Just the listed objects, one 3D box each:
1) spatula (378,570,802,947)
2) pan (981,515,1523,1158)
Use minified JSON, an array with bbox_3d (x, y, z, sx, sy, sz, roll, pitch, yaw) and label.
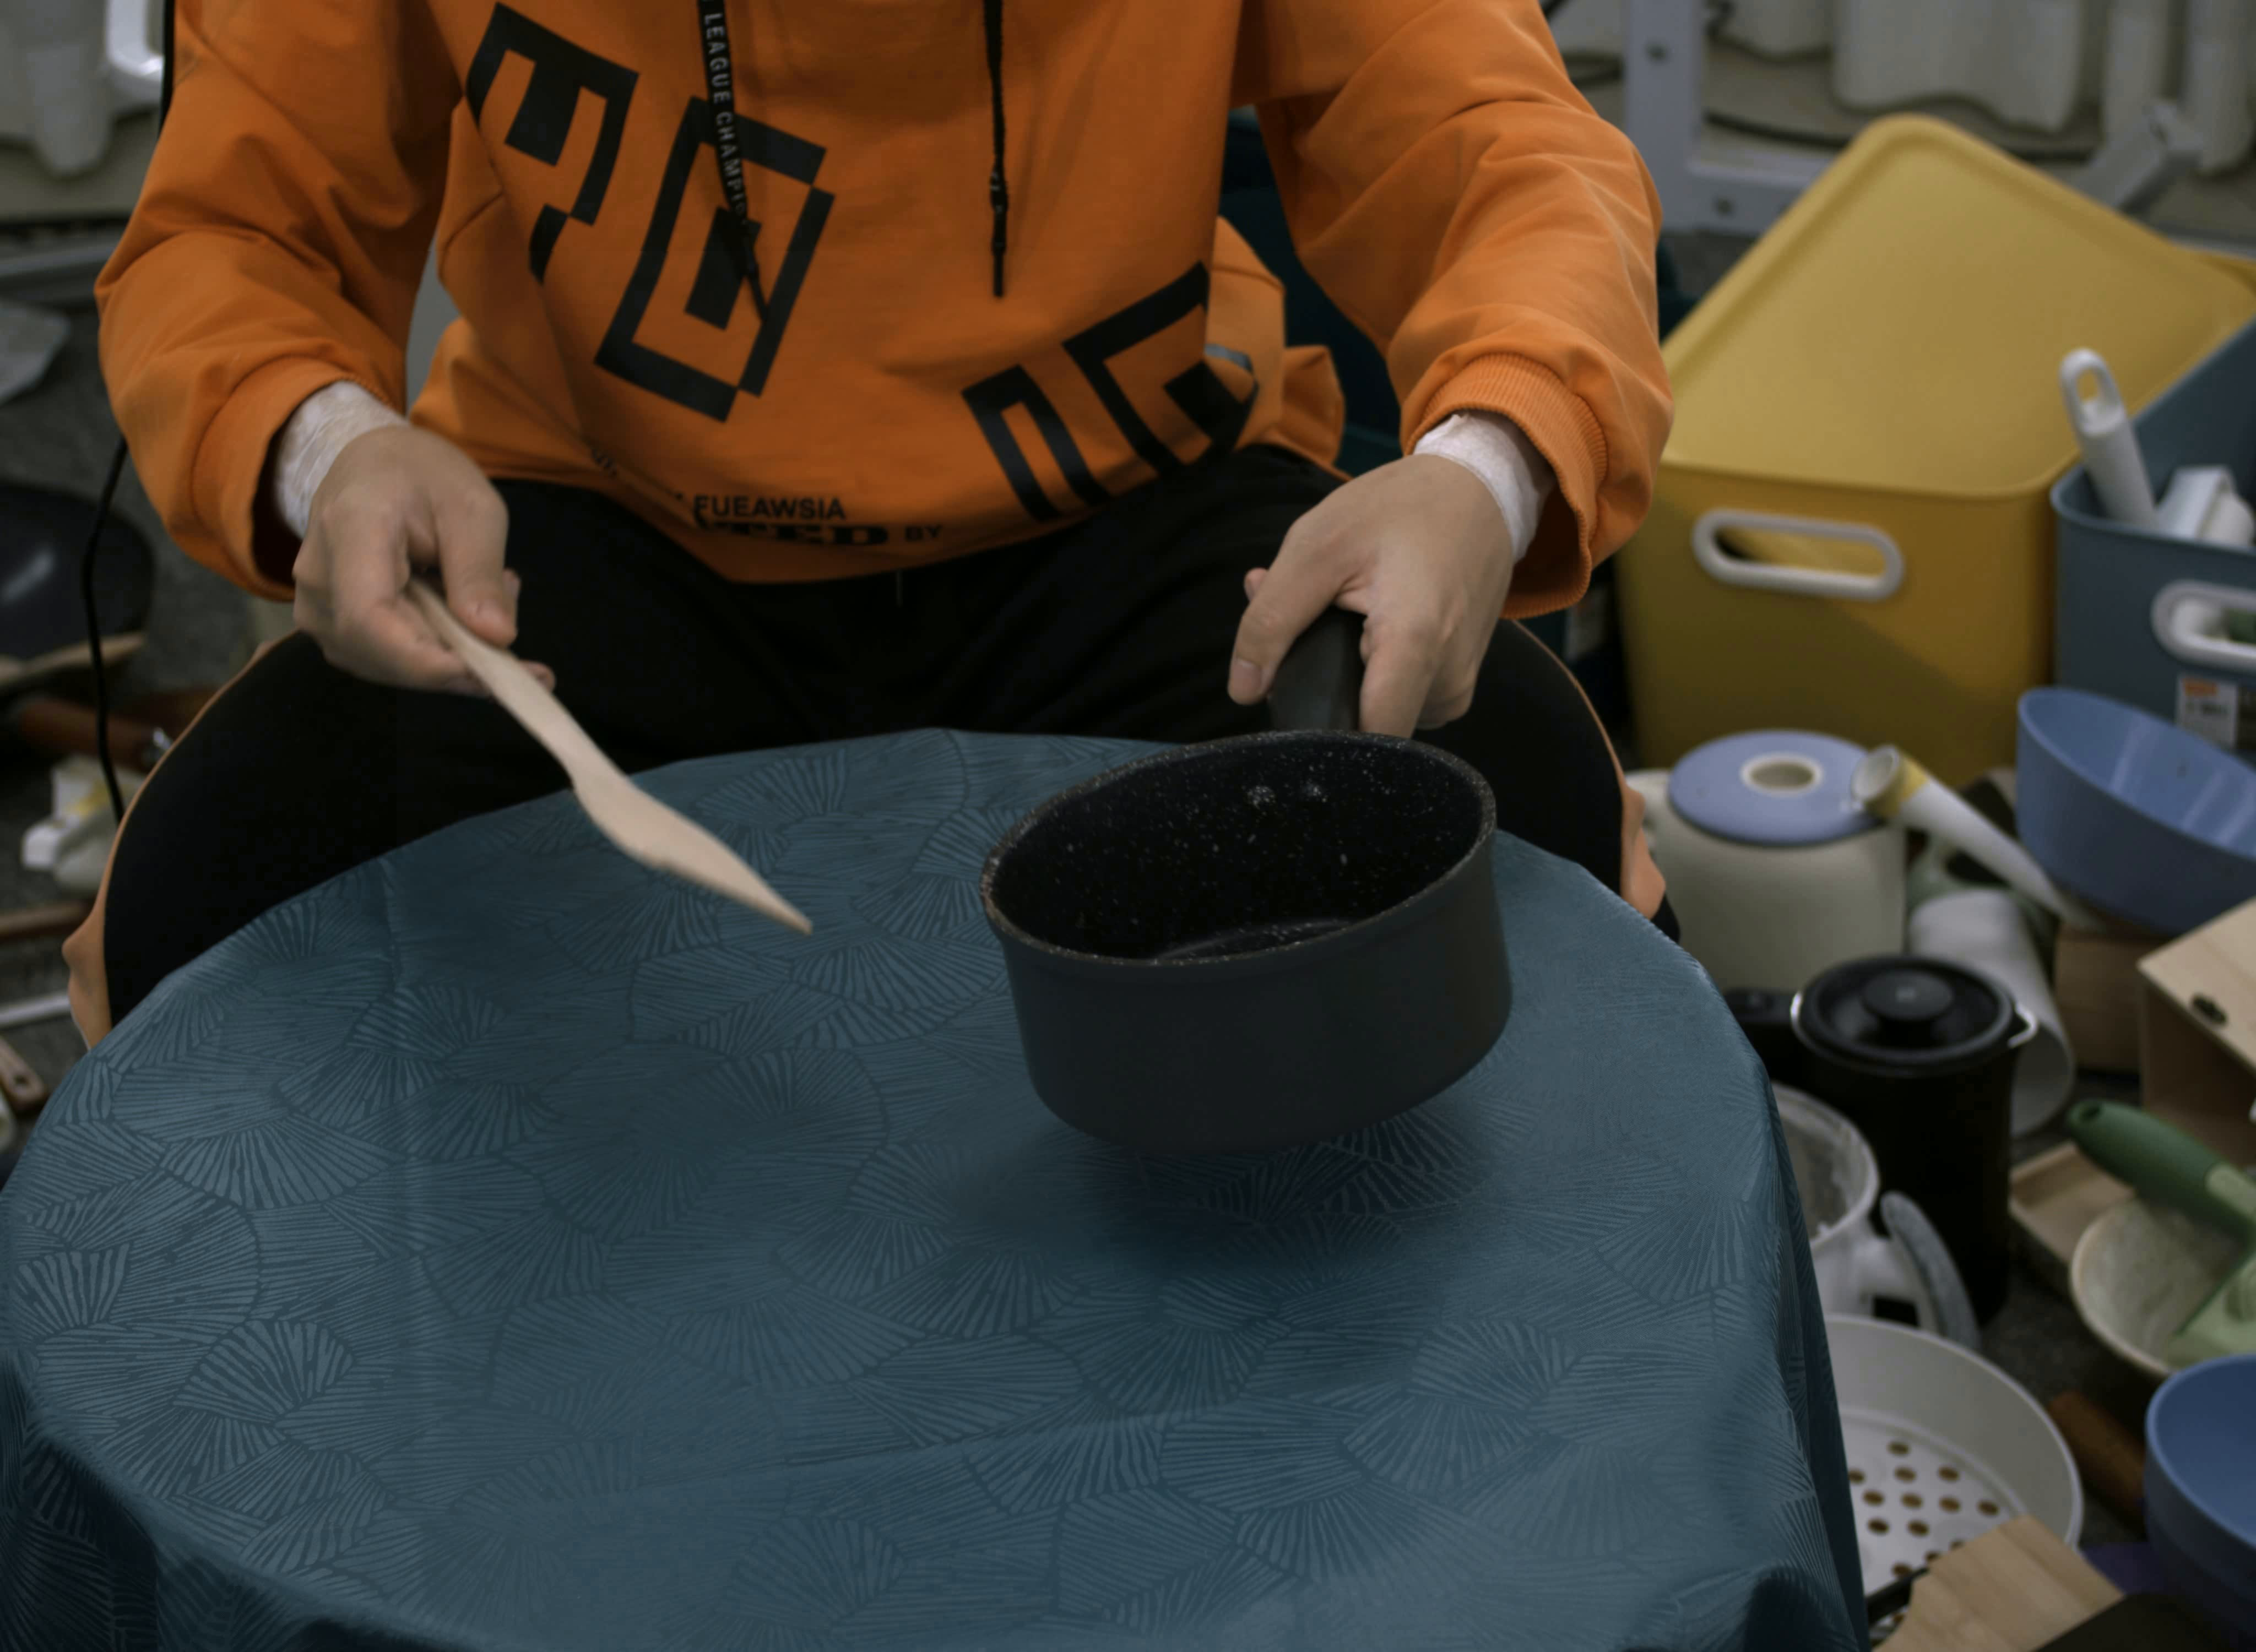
[{"bbox_3d":[-0.201,-0.029,1.959,0.072,0.010,0.295,23,12,-37],"label":"spatula"},{"bbox_3d":[0.061,0.000,1.915,0.170,0.086,0.334,-3,26,17],"label":"pan"}]
